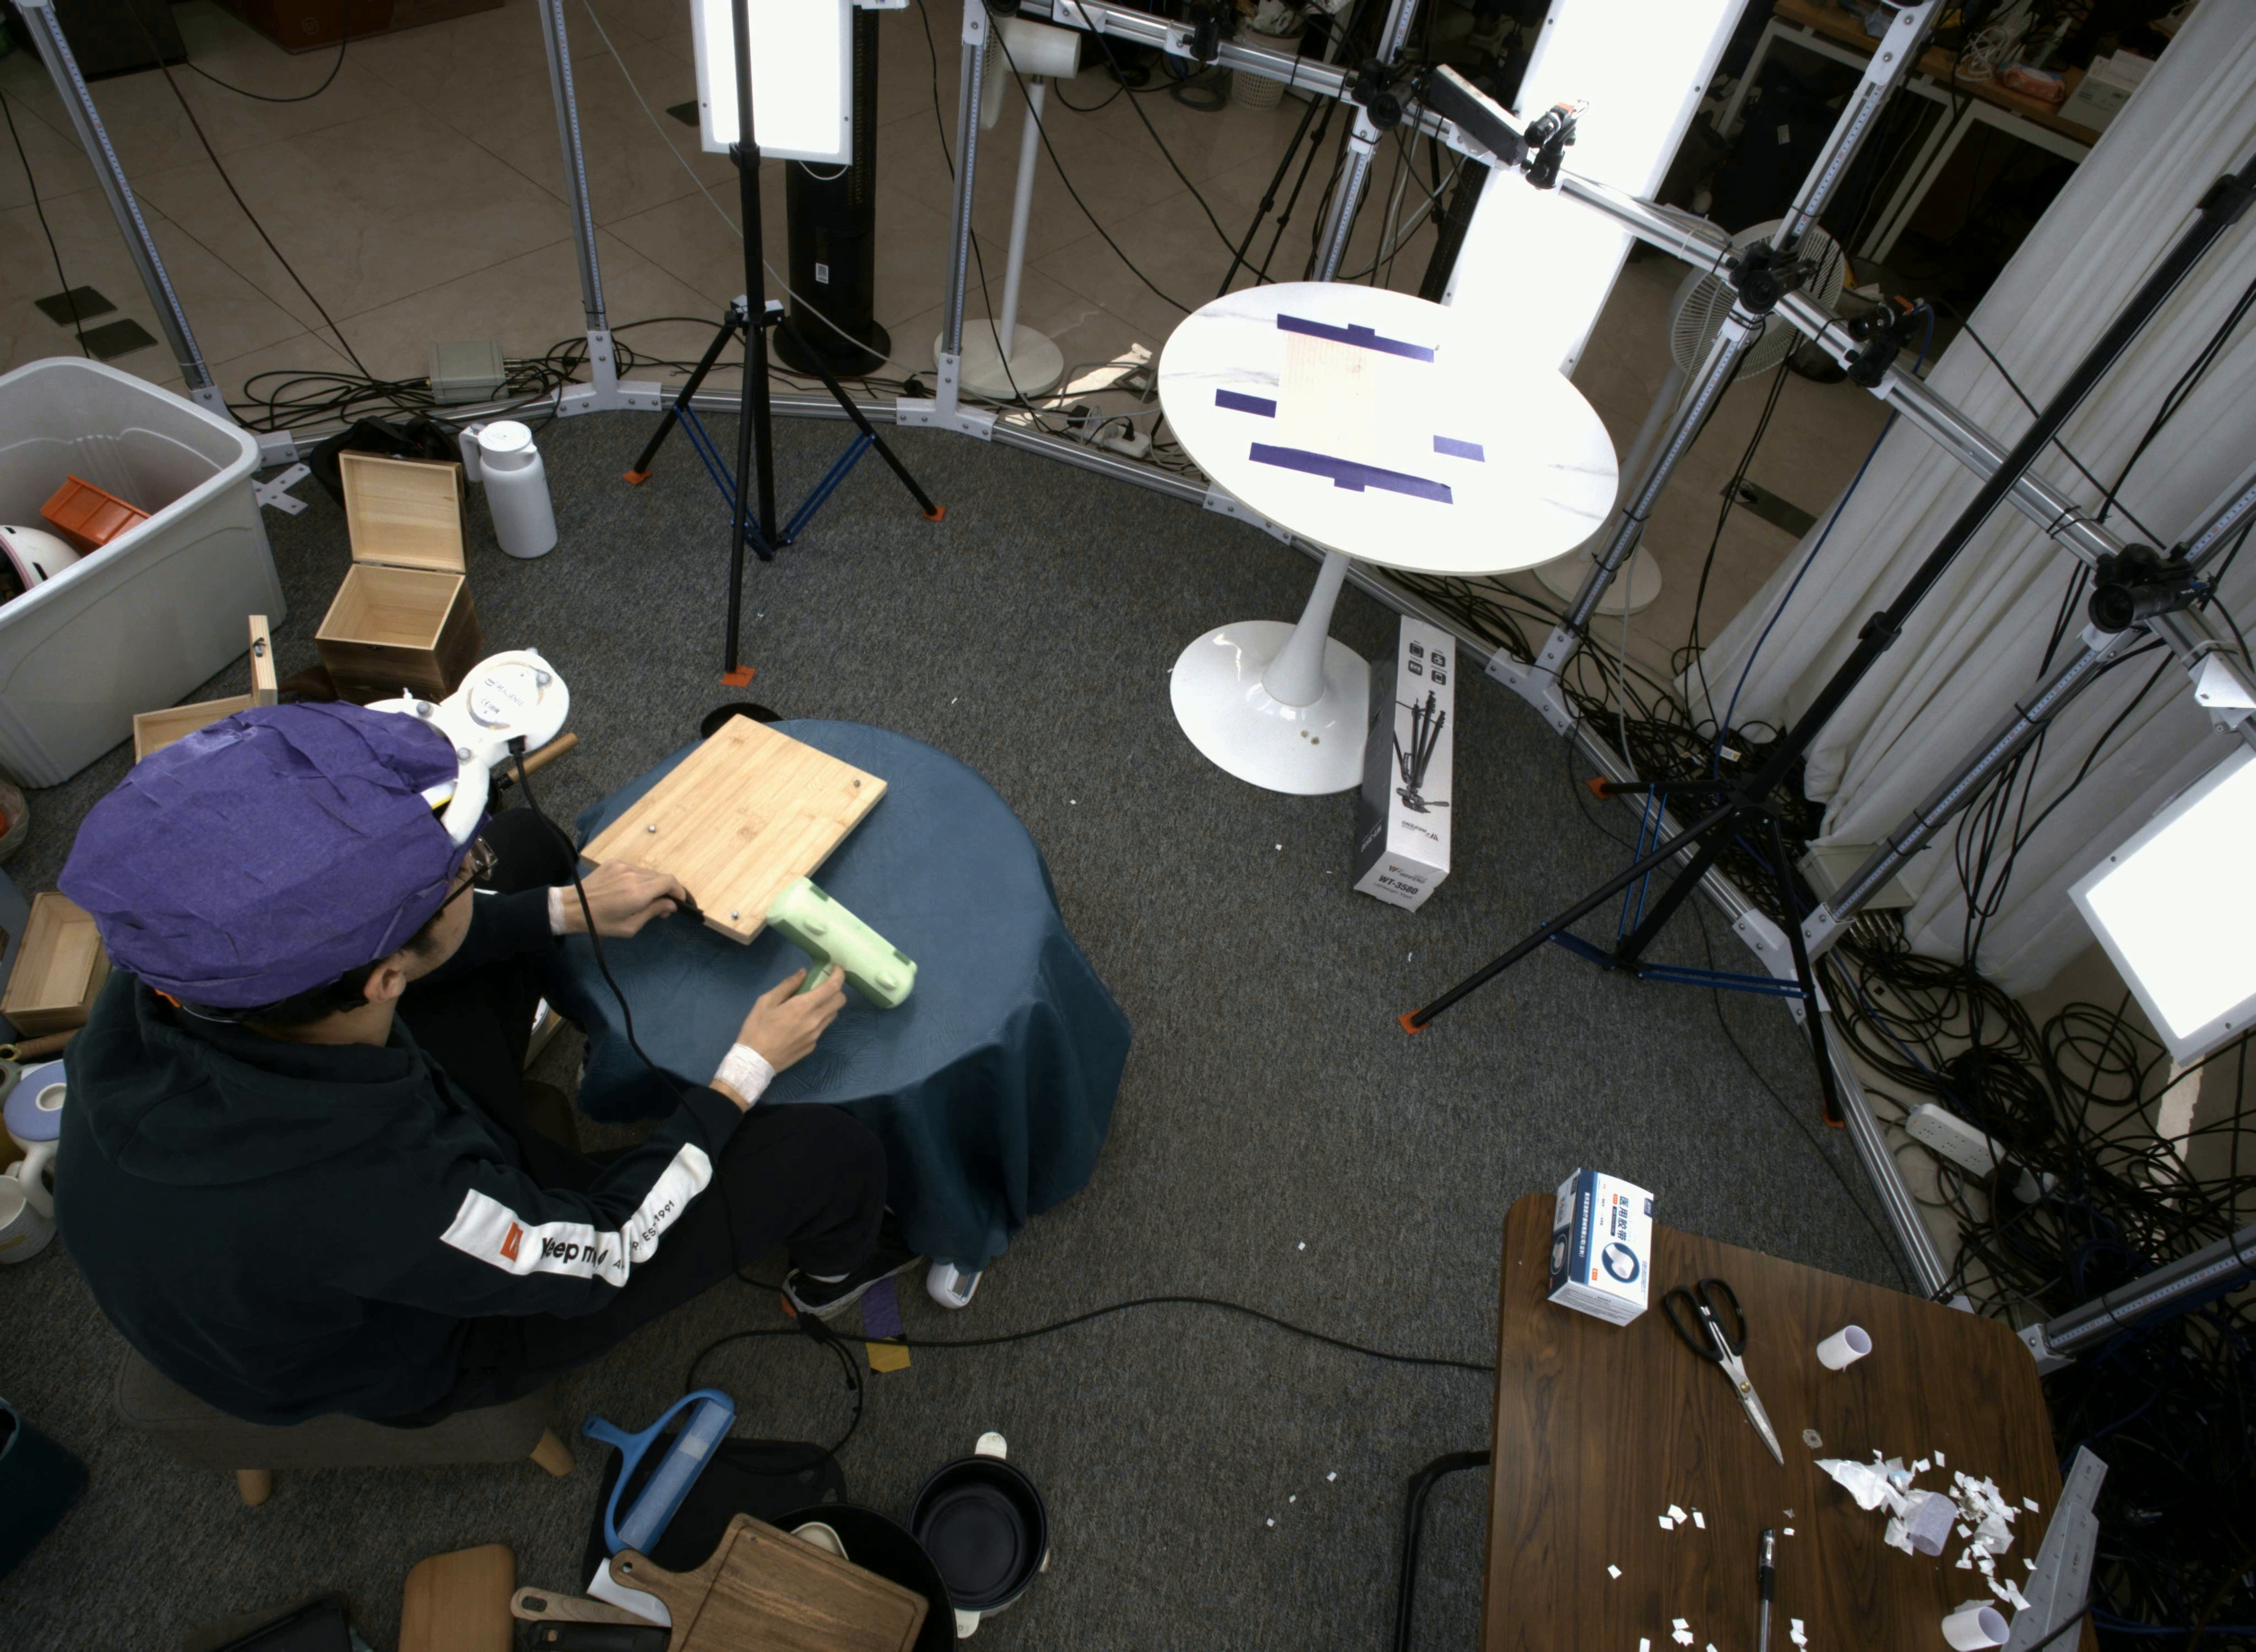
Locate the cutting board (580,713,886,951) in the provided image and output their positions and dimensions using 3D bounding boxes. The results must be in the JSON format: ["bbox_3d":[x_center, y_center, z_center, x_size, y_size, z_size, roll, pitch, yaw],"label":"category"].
[{"bbox_3d":[-0.501,-0.004,1.665,0.247,0.024,0.346,25,42,5],"label":"cutting board"}]

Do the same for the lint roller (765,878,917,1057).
[{"bbox_3d":[-0.355,0.187,1.509,0.205,0.079,0.182,45,59,-32],"label":"lint roller"}]
